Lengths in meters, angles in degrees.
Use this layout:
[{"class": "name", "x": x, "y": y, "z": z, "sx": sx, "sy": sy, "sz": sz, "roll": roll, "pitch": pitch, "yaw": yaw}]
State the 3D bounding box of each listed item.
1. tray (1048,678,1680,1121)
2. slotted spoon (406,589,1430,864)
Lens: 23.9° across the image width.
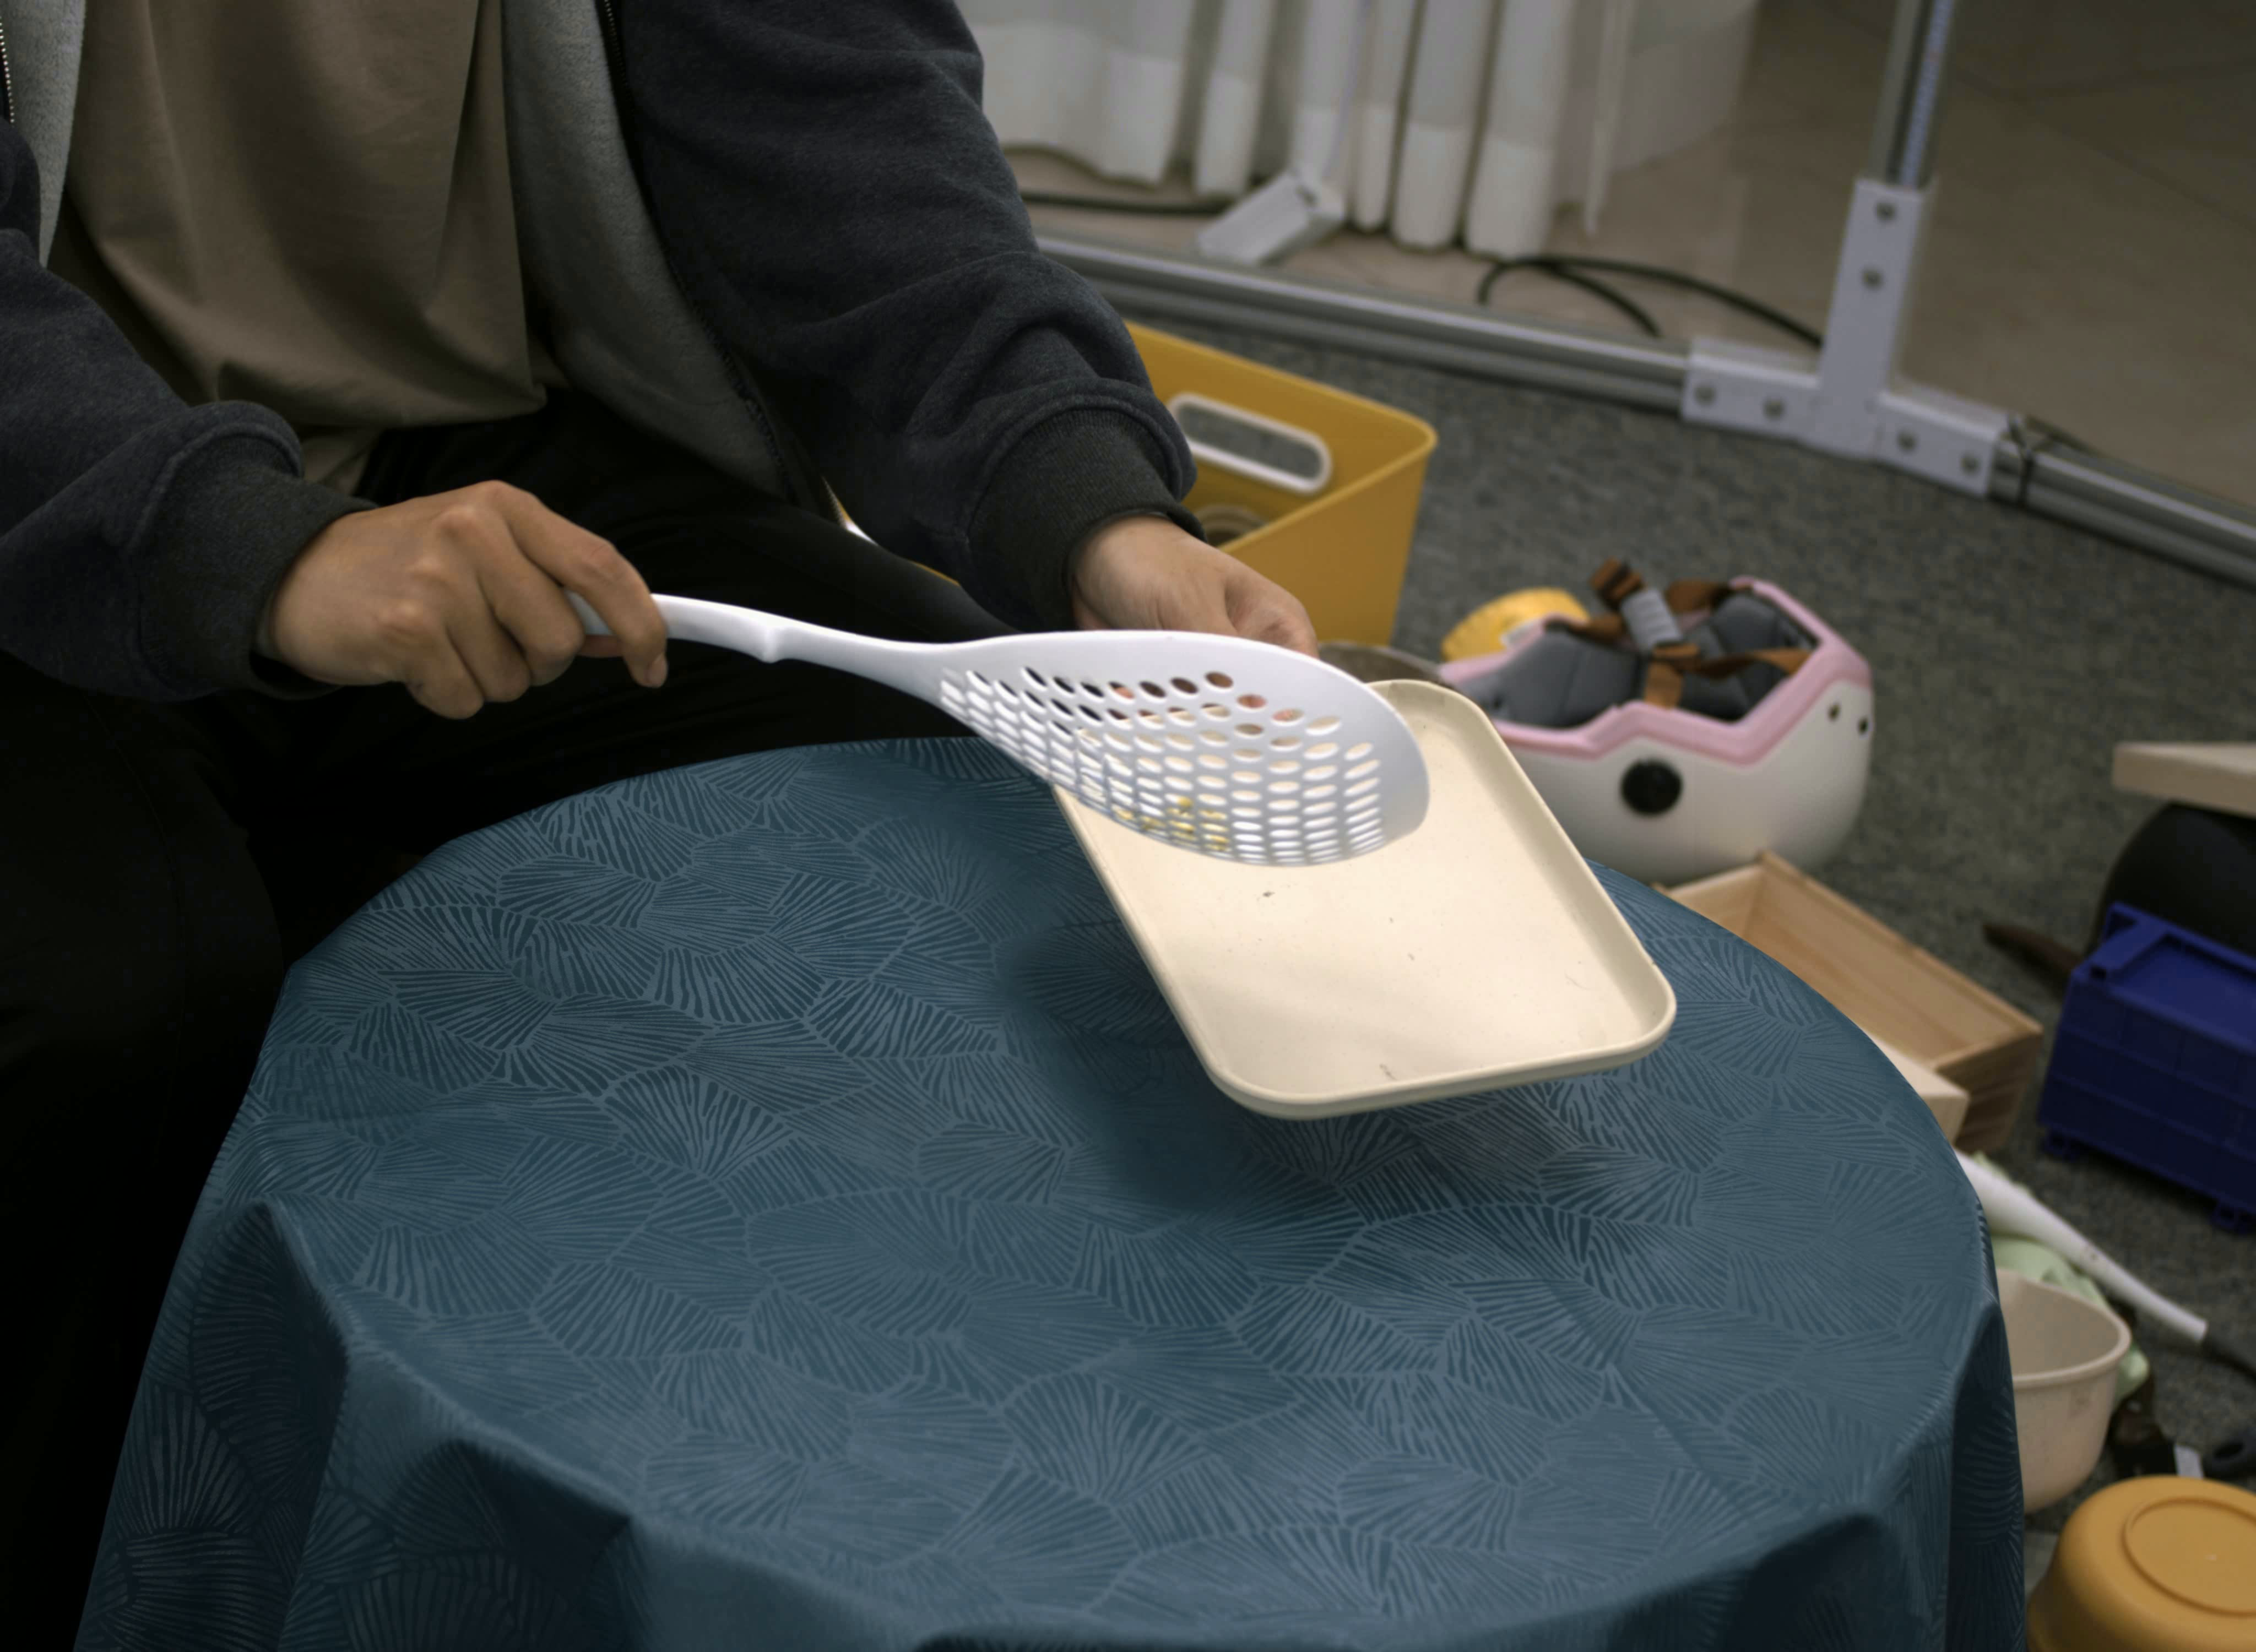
[{"class": "tray", "x": 0.080, "y": 0.024, "z": 1.882, "sx": 0.170, "sy": 0.017, "sz": 0.242, "roll": -9, "pitch": 35, "yaw": -15}, {"class": "slotted spoon", "x": -0.072, "y": -0.044, "z": 1.772, "sx": 0.348, "sy": 0.136, "sz": 0.050, "roll": 16, "pitch": 66, "yaw": 13}]
